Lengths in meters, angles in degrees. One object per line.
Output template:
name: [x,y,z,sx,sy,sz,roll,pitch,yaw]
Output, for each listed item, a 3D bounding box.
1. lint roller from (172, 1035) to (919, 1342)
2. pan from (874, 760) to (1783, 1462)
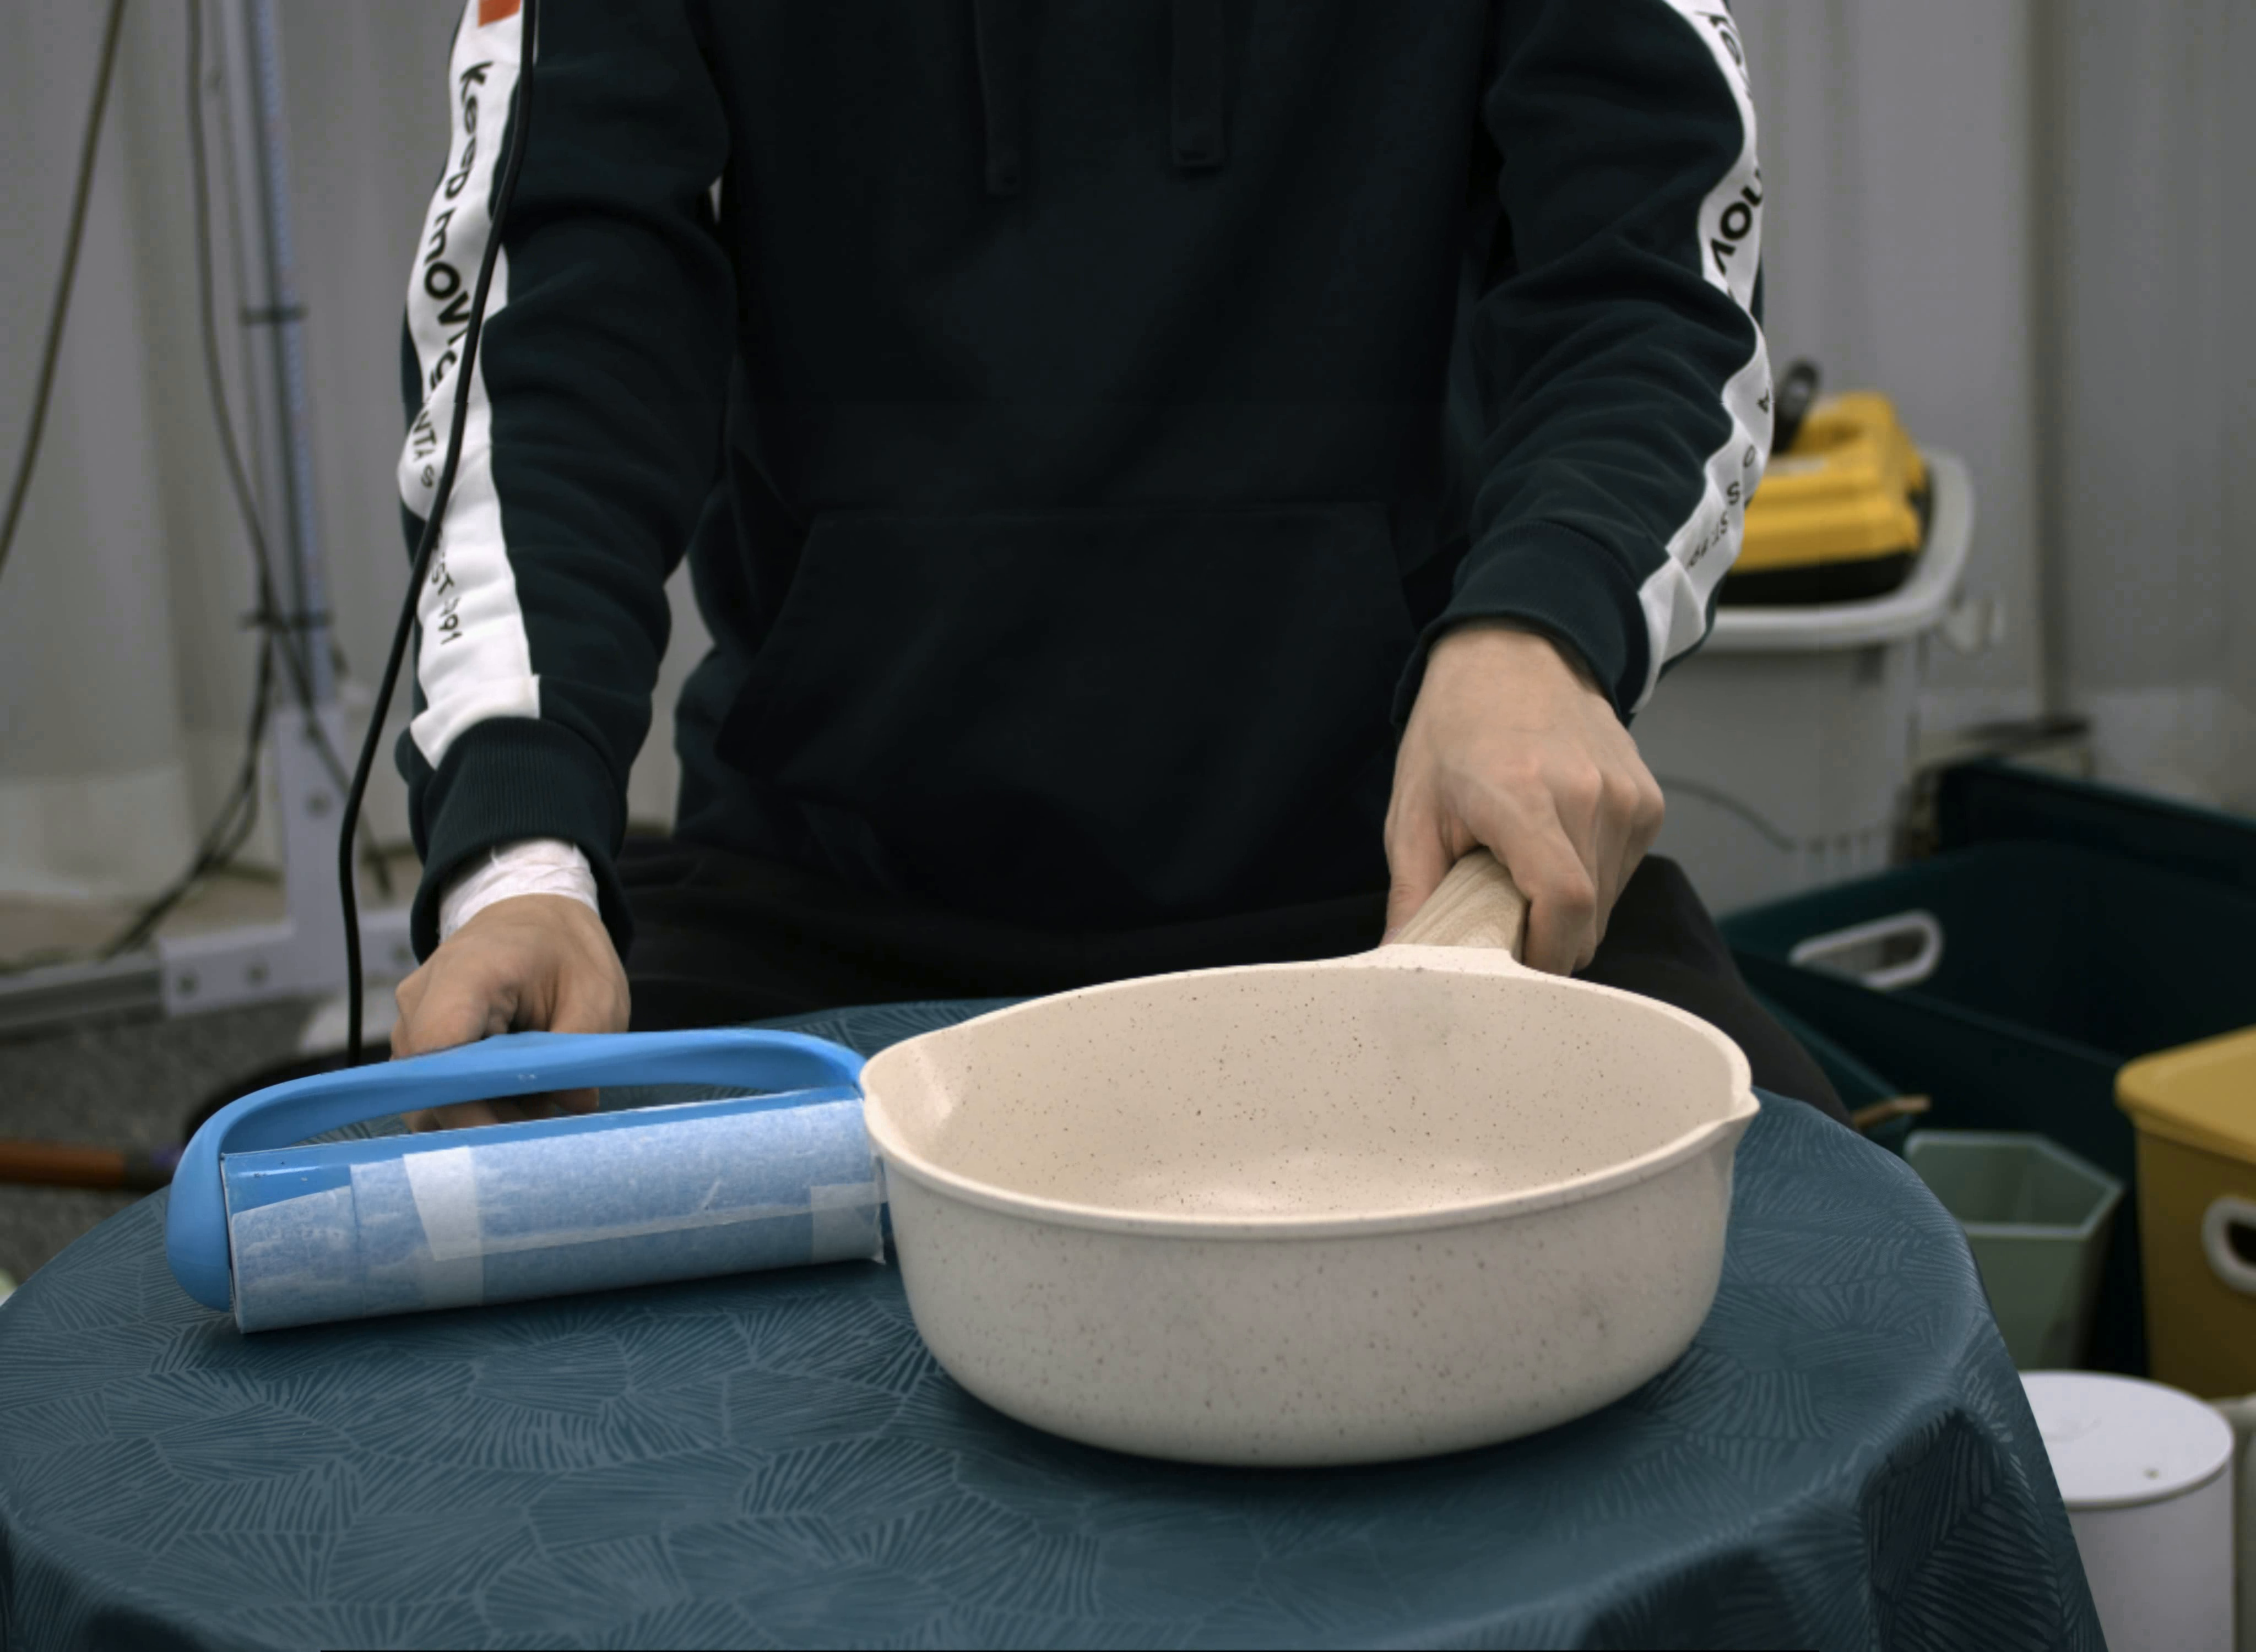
lint roller: [-0.188,0.098,1.699,0.228,0.067,0.182,-8,19,-14]
pan: [0.085,0.080,1.632,0.263,0.101,0.436,1,14,19]
